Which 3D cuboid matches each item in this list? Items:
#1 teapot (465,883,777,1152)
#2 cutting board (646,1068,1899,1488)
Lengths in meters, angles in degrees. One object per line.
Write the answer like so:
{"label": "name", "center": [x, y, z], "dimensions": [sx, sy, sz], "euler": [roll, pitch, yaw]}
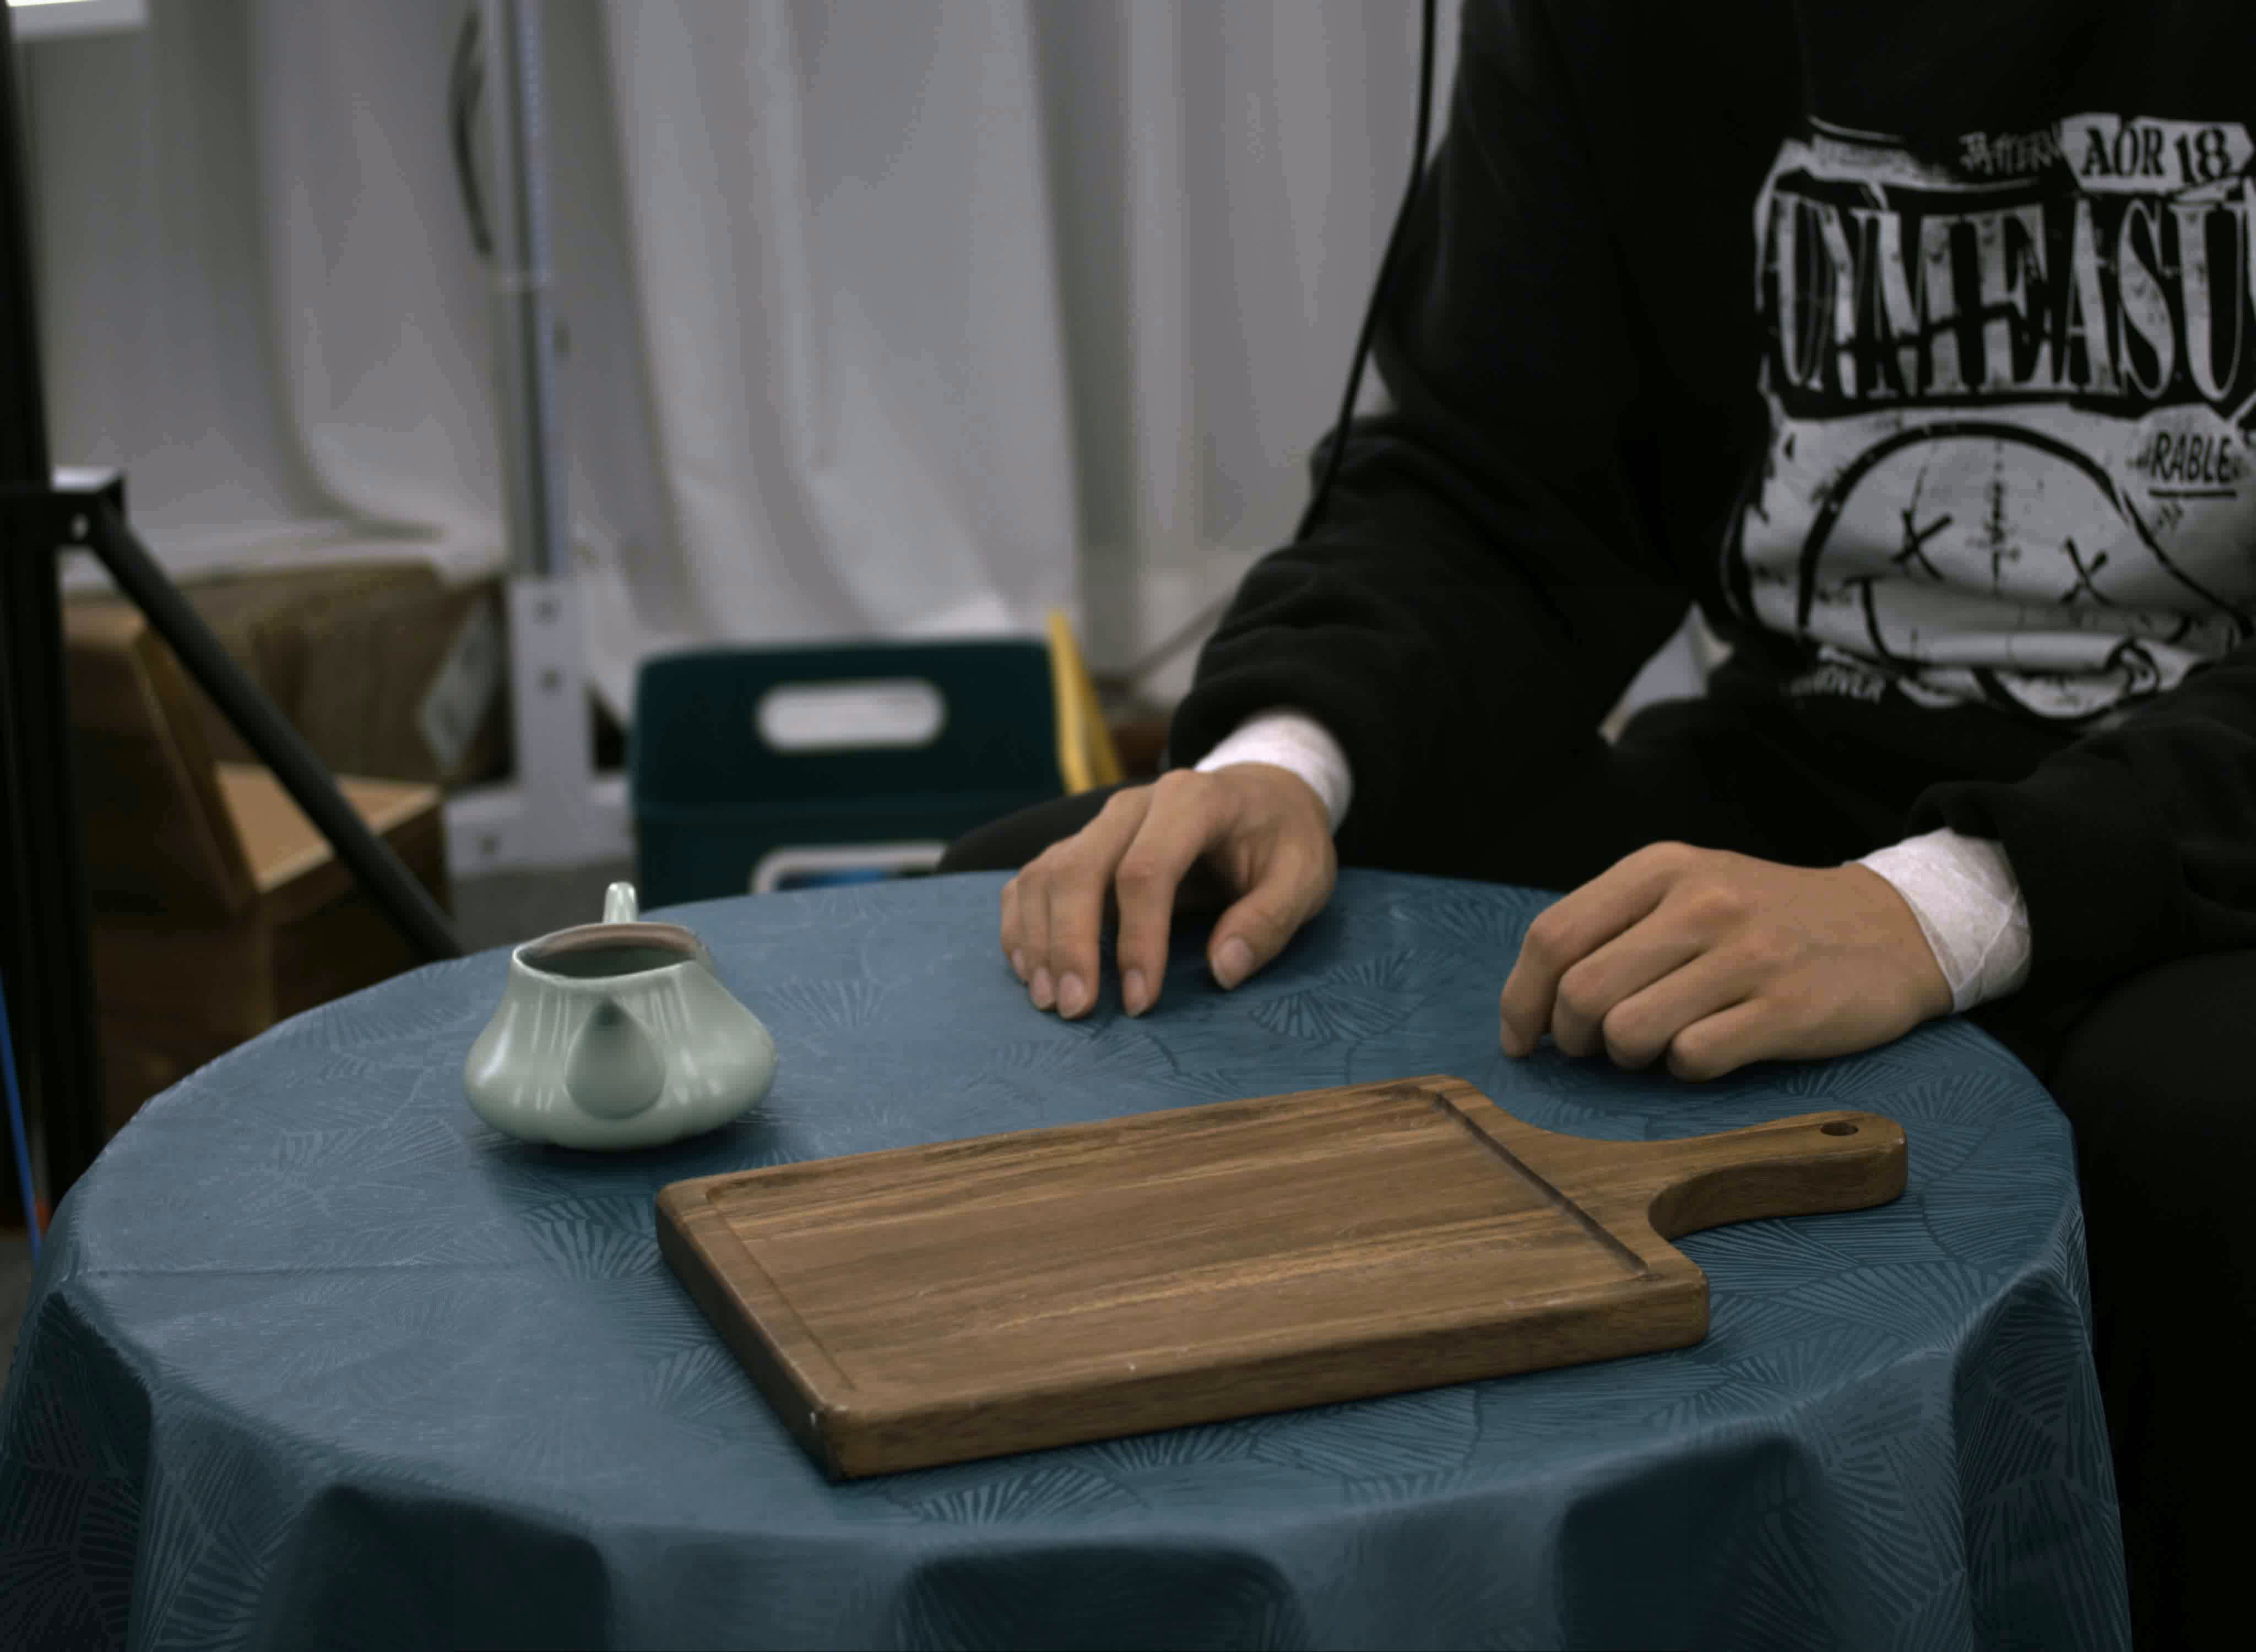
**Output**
{"label": "teapot", "center": [-0.156, 0.062, 1.634], "dimensions": [0.095, 0.061, 0.138], "euler": [-5, 16, -4]}
{"label": "cutting board", "center": [0.057, 0.115, 1.482], "dimensions": [0.346, 0.023, 0.204], "euler": [-8, 17, -16]}
